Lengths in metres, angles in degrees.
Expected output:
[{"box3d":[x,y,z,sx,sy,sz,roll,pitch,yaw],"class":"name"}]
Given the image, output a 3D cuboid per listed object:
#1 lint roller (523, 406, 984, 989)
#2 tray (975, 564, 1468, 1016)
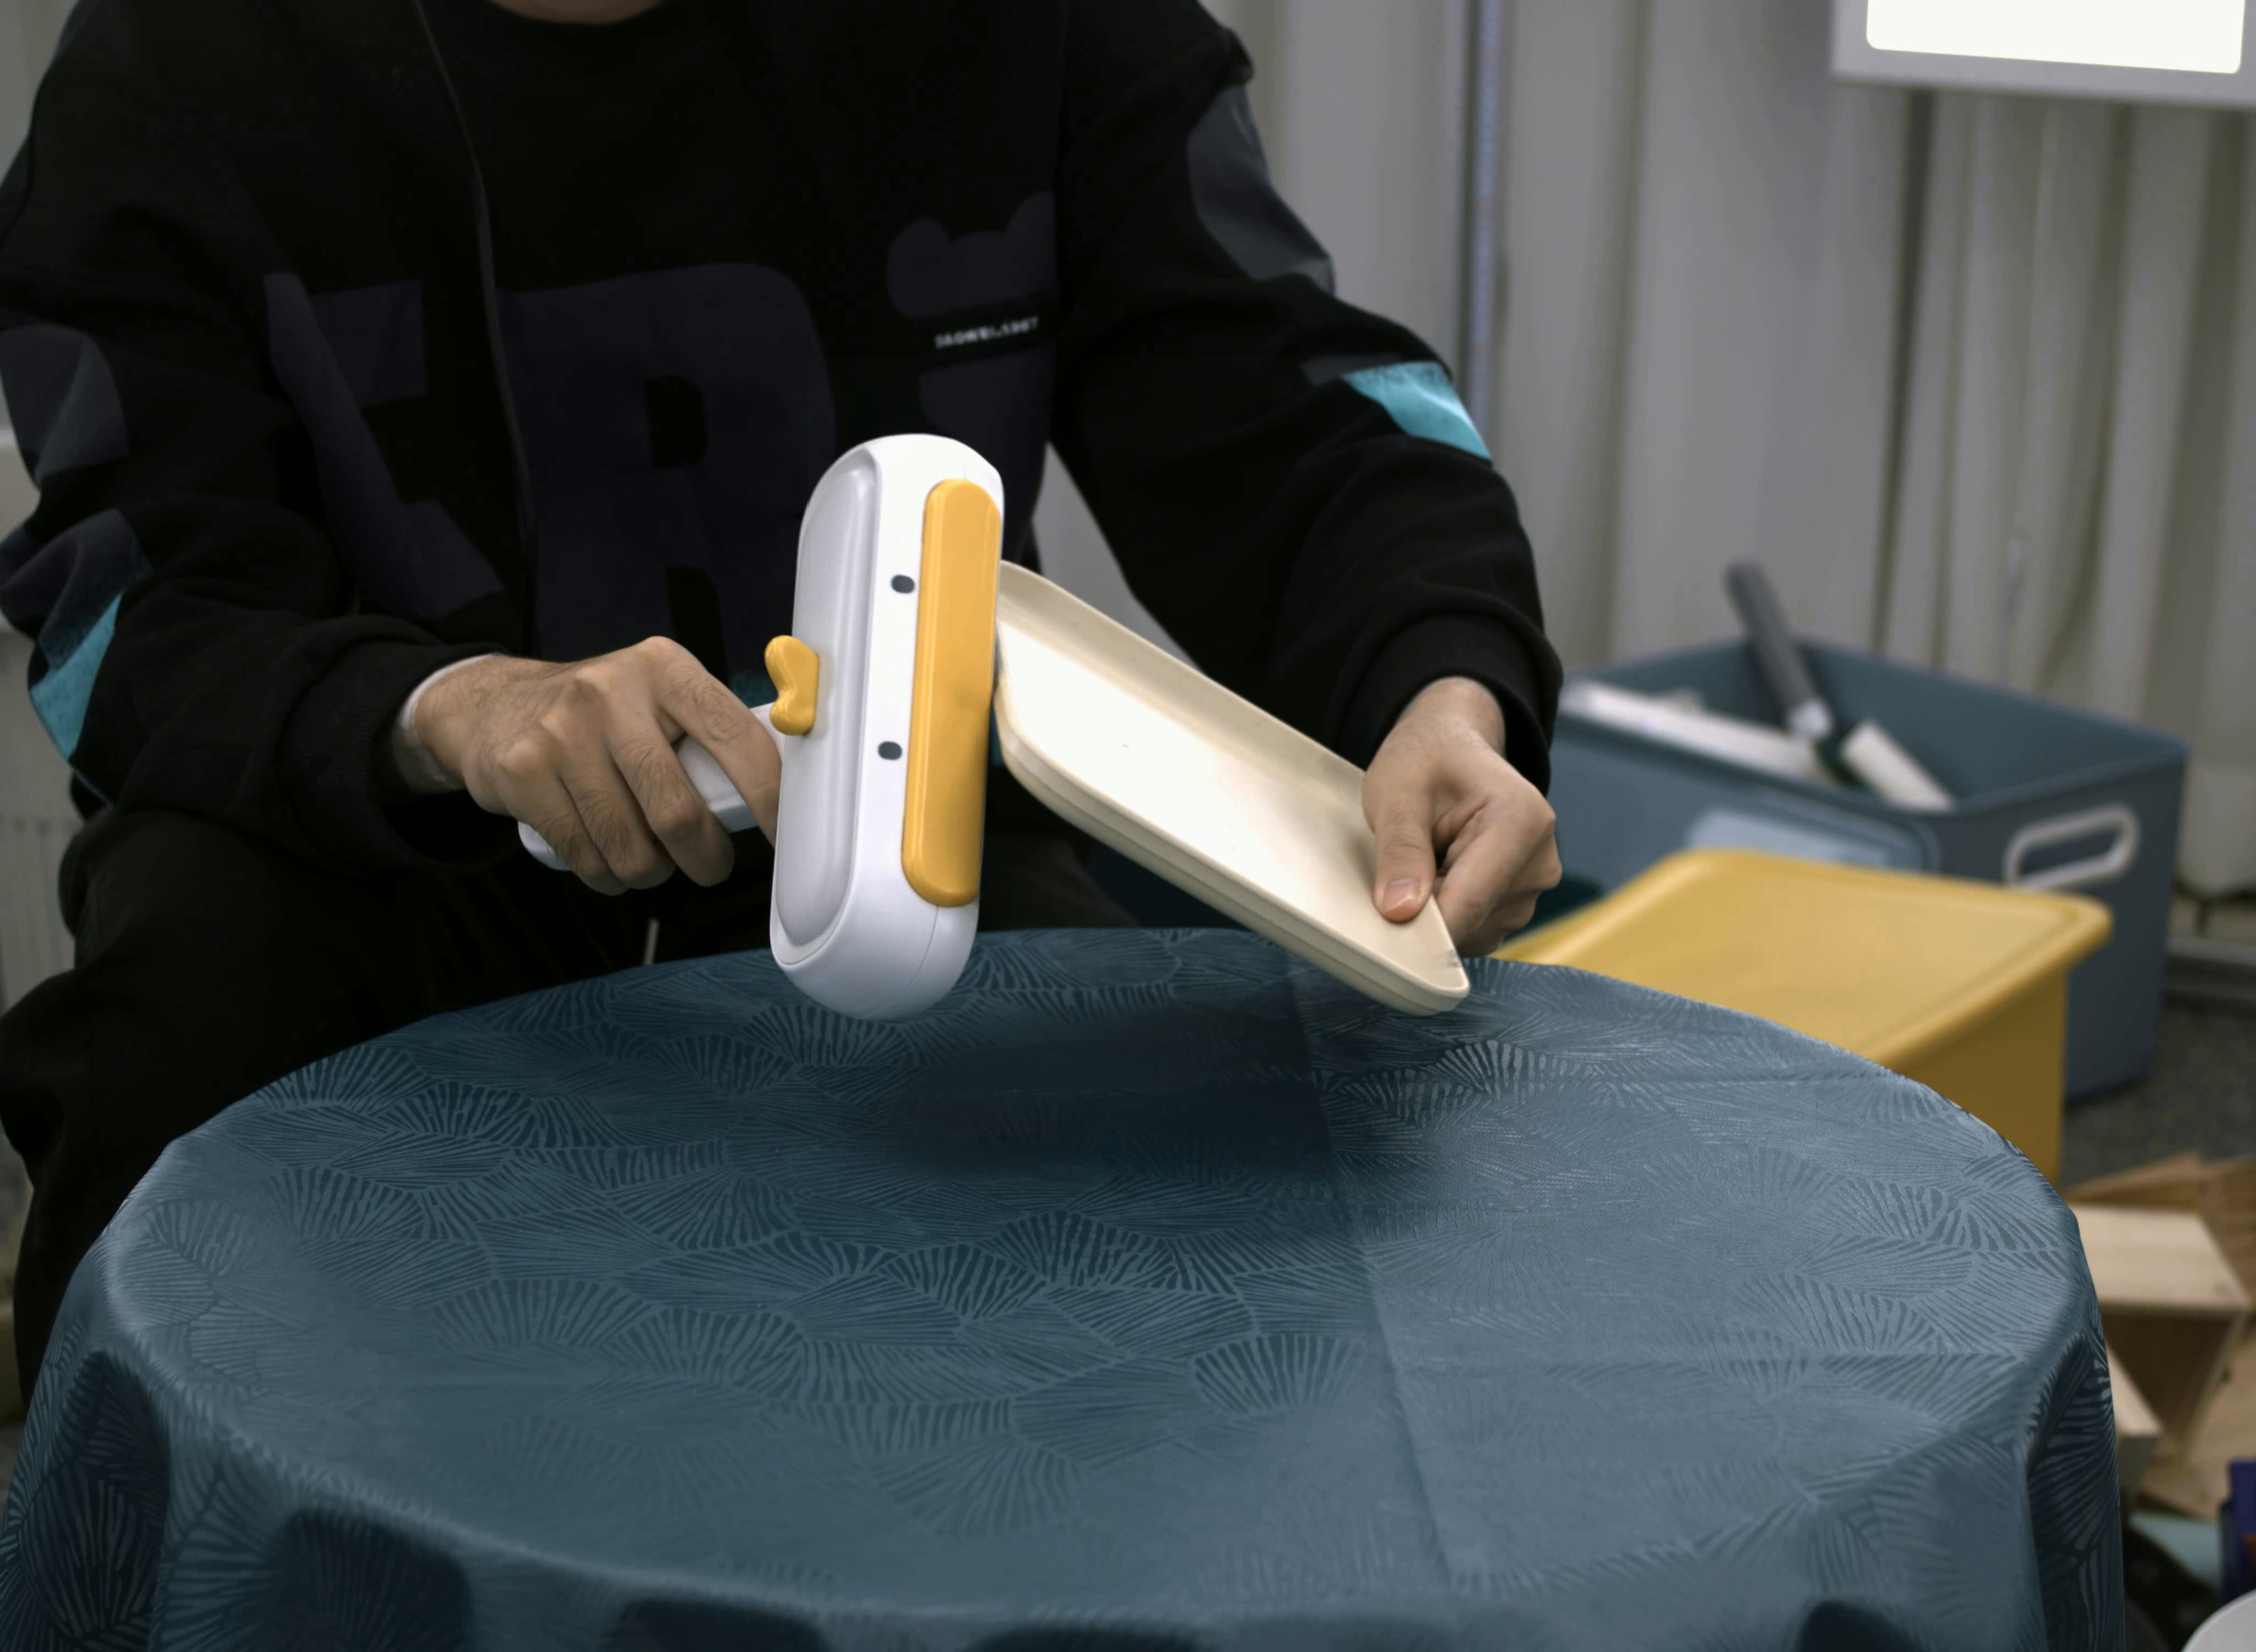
[{"box3d":[-0.118,-0.022,1.684,0.075,0.192,0.191,16,-32,-37],"class":"lint roller"},{"box3d":[0.024,-0.012,1.699,0.172,0.017,0.238,31,13,-13],"class":"tray"}]
